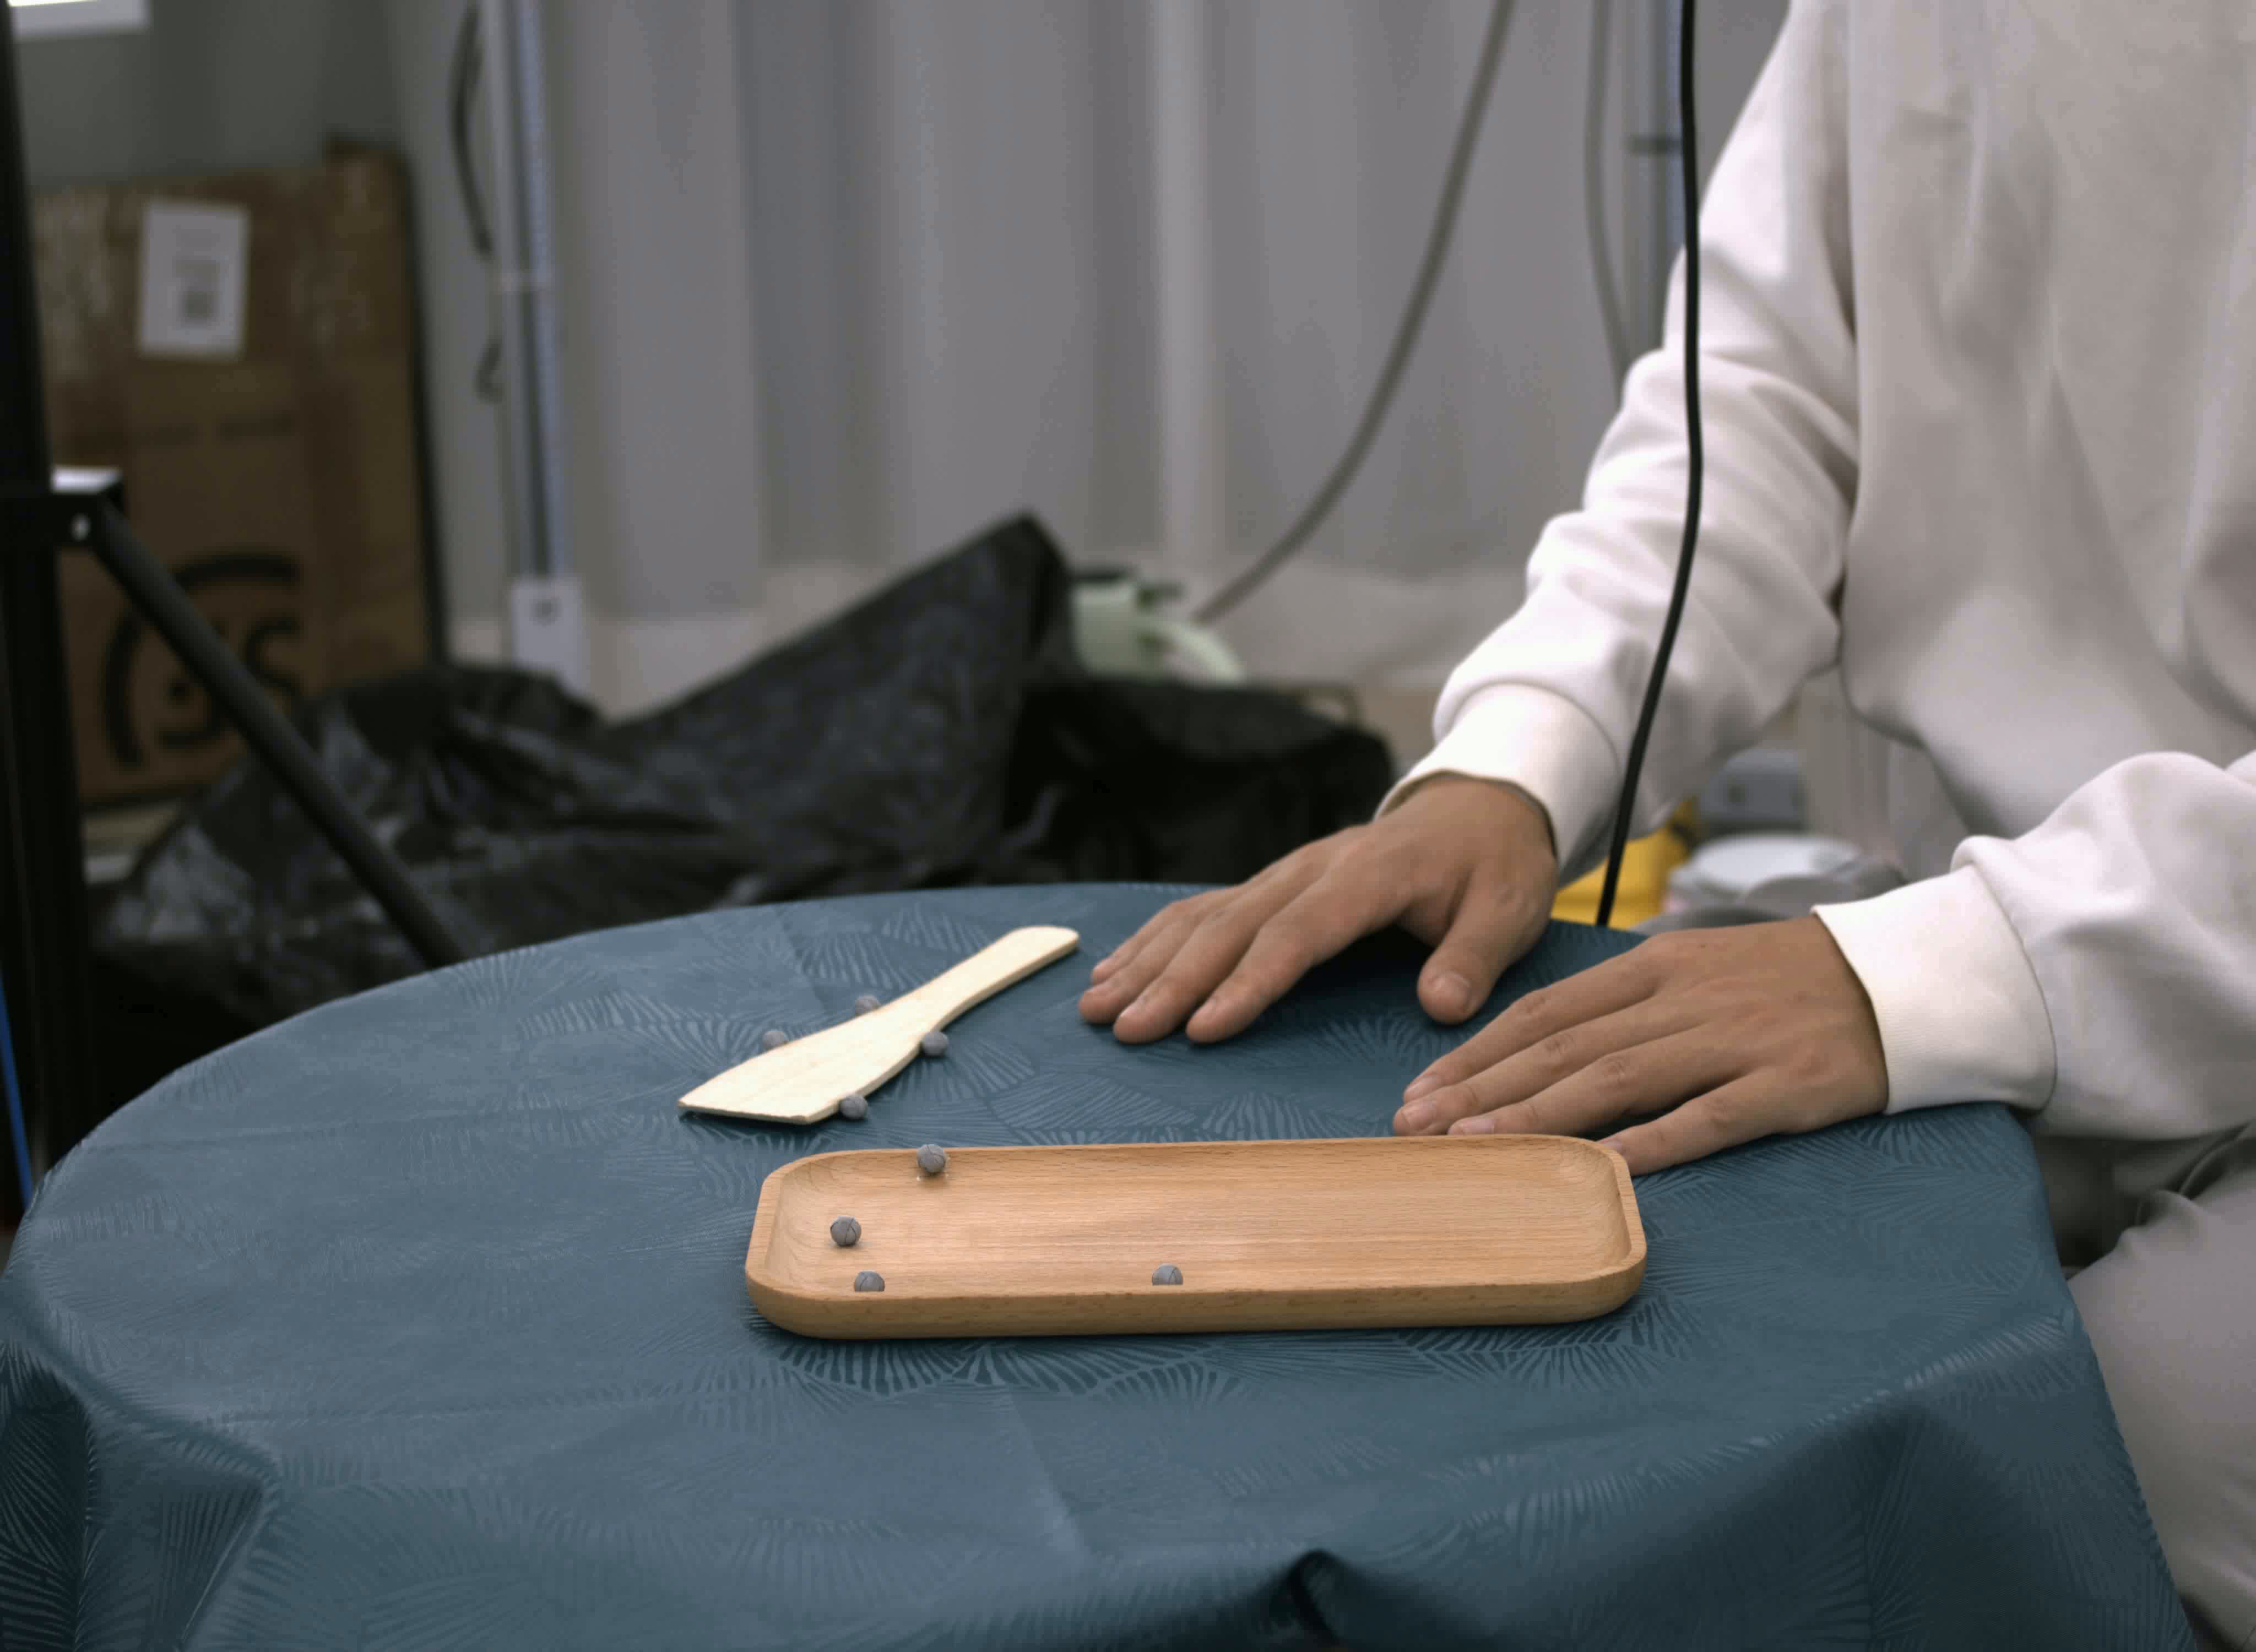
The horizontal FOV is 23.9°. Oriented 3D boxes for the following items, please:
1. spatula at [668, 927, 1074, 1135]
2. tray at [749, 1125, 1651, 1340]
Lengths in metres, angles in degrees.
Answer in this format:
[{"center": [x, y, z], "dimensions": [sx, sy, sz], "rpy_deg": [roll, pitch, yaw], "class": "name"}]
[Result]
[{"center": [-0.073, 0.064, 1.713], "dimensions": [0.051, 0.005, 0.204], "rpy_deg": [7, 19, 28], "class": "spatula"}, {"center": [0.020, 0.115, 1.499], "dimensions": [0.250, 0.023, 0.131], "rpy_deg": [-1, 18, 3], "class": "tray"}]
